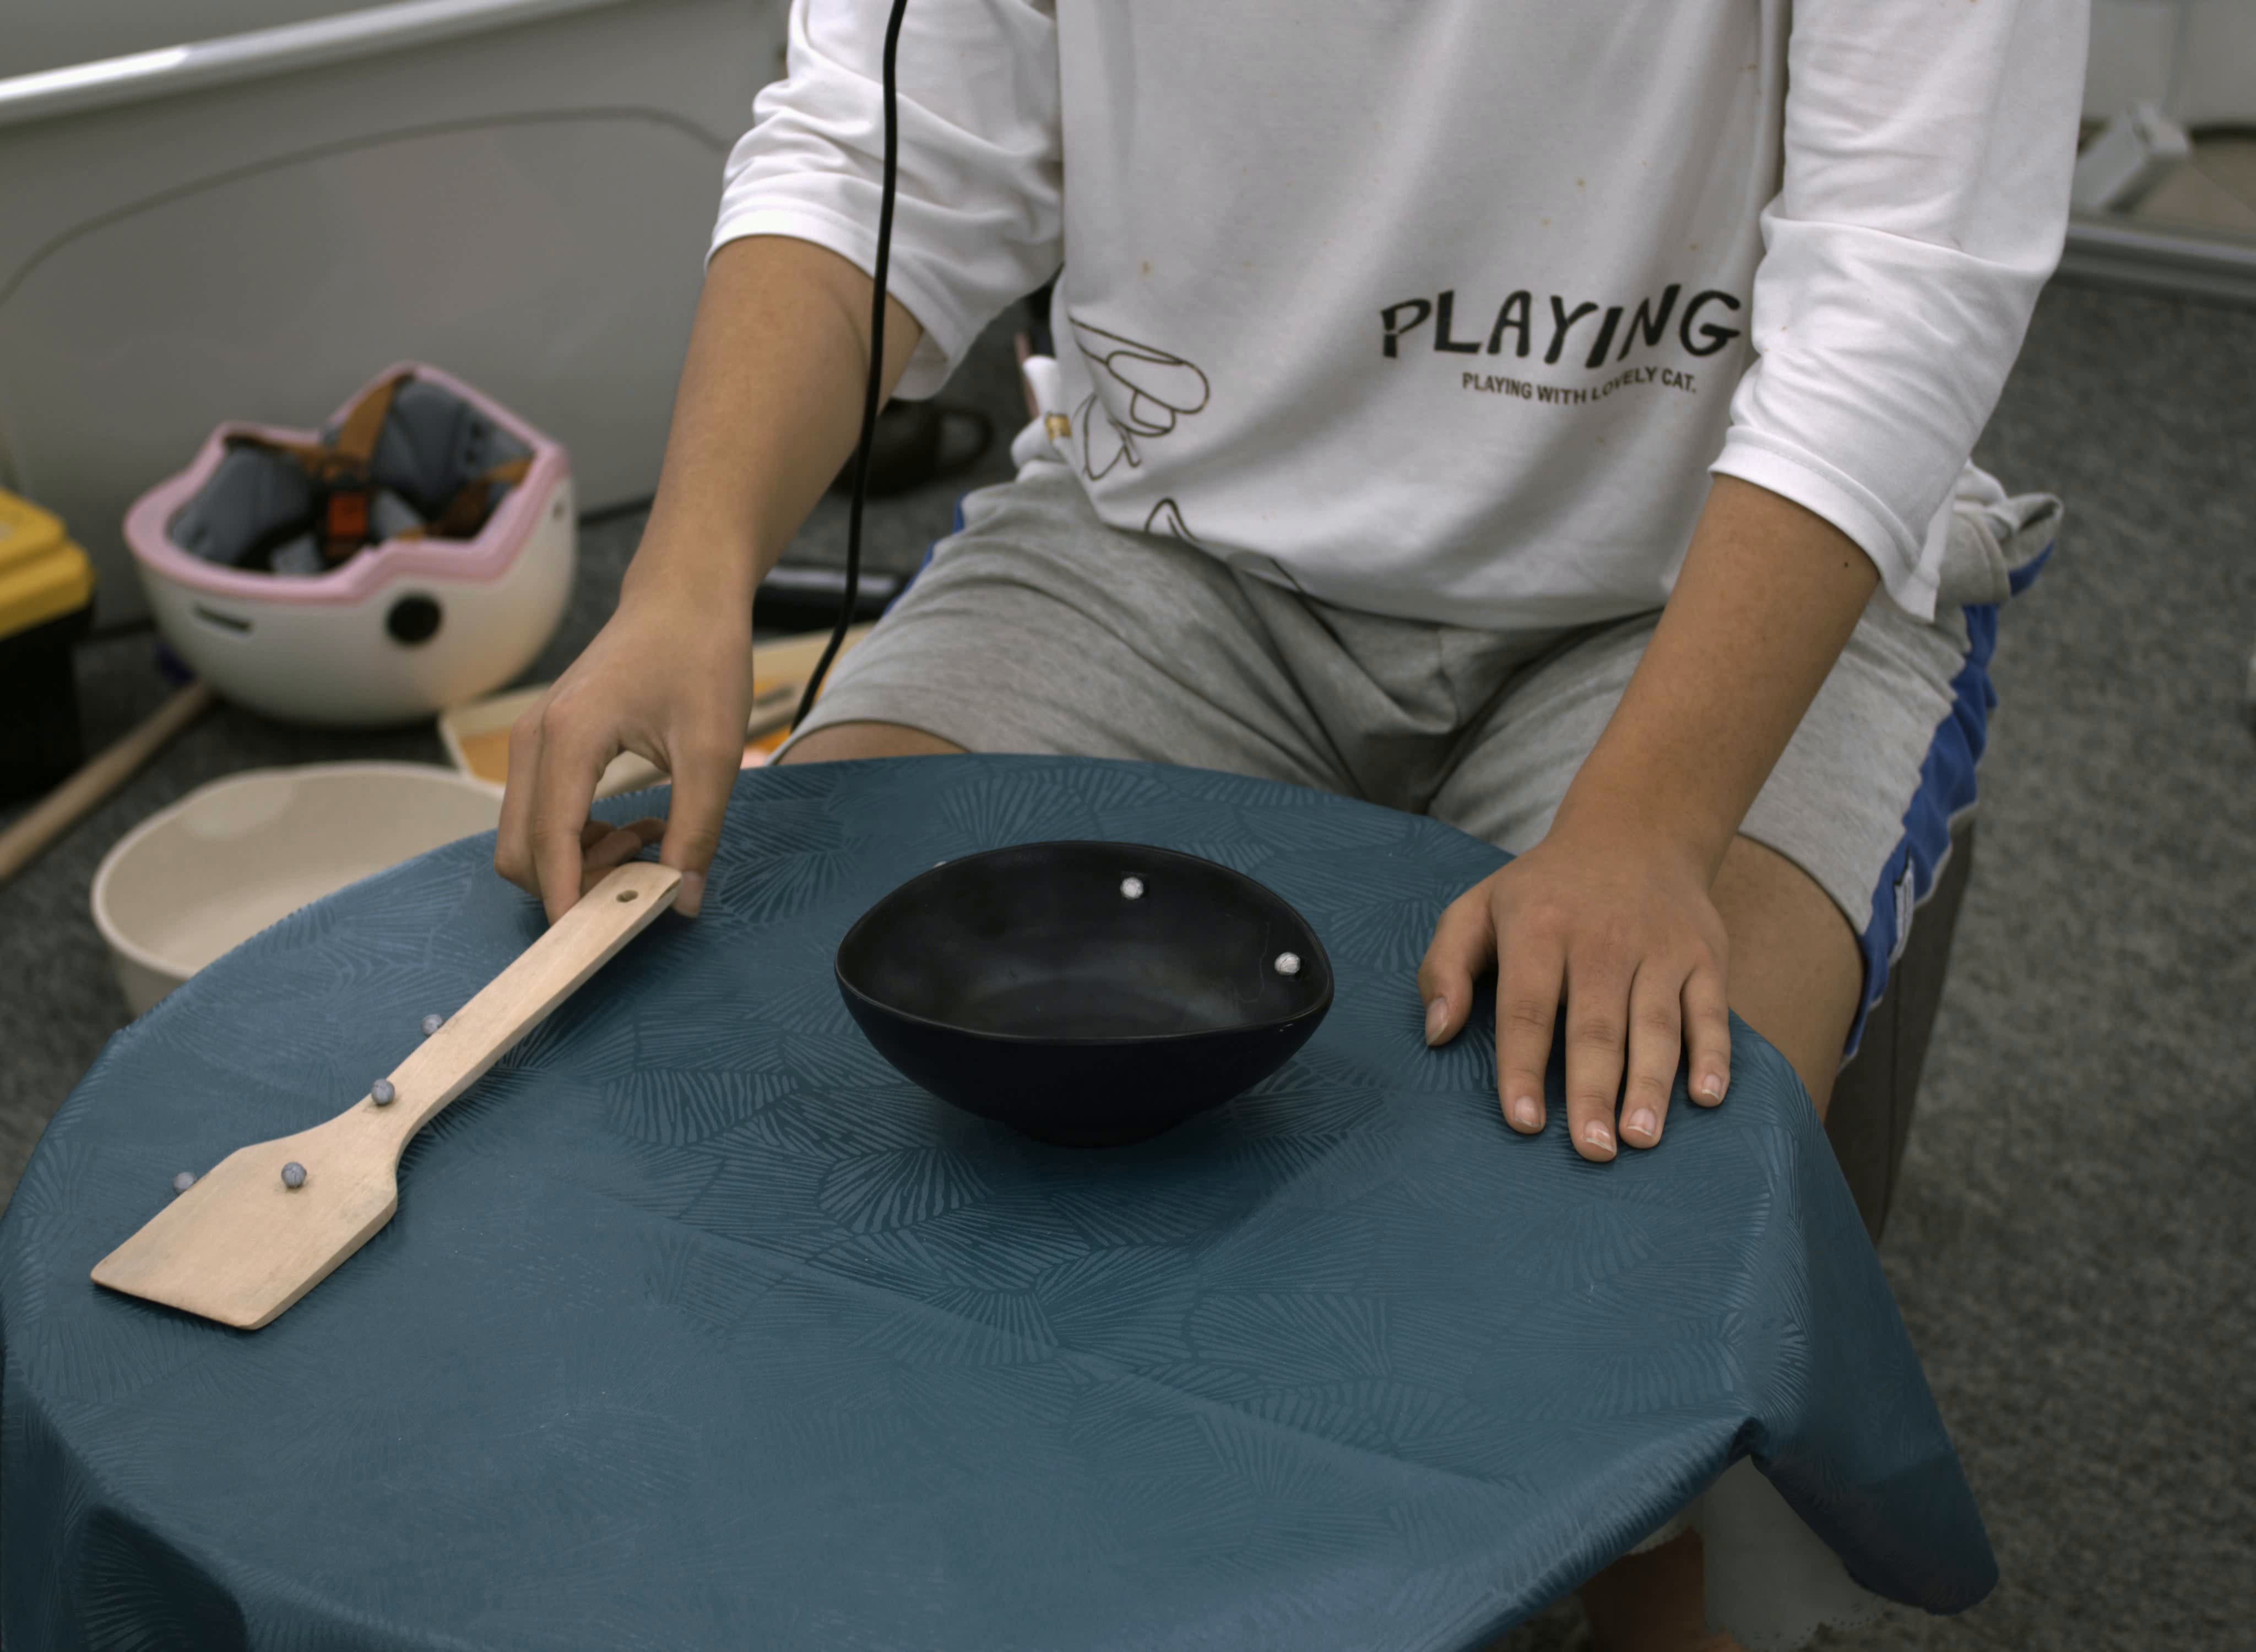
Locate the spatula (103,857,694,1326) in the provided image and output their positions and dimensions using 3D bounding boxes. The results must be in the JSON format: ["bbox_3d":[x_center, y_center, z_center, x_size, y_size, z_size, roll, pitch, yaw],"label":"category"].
[{"bbox_3d":[-0.237,0.086,1.930,0.072,0.010,0.298,12,35,27],"label":"spatula"}]

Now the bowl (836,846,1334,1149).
[{"bbox_3d":[-0.014,0.065,1.907,0.169,0.066,0.139,3,27,6],"label":"bowl"}]
